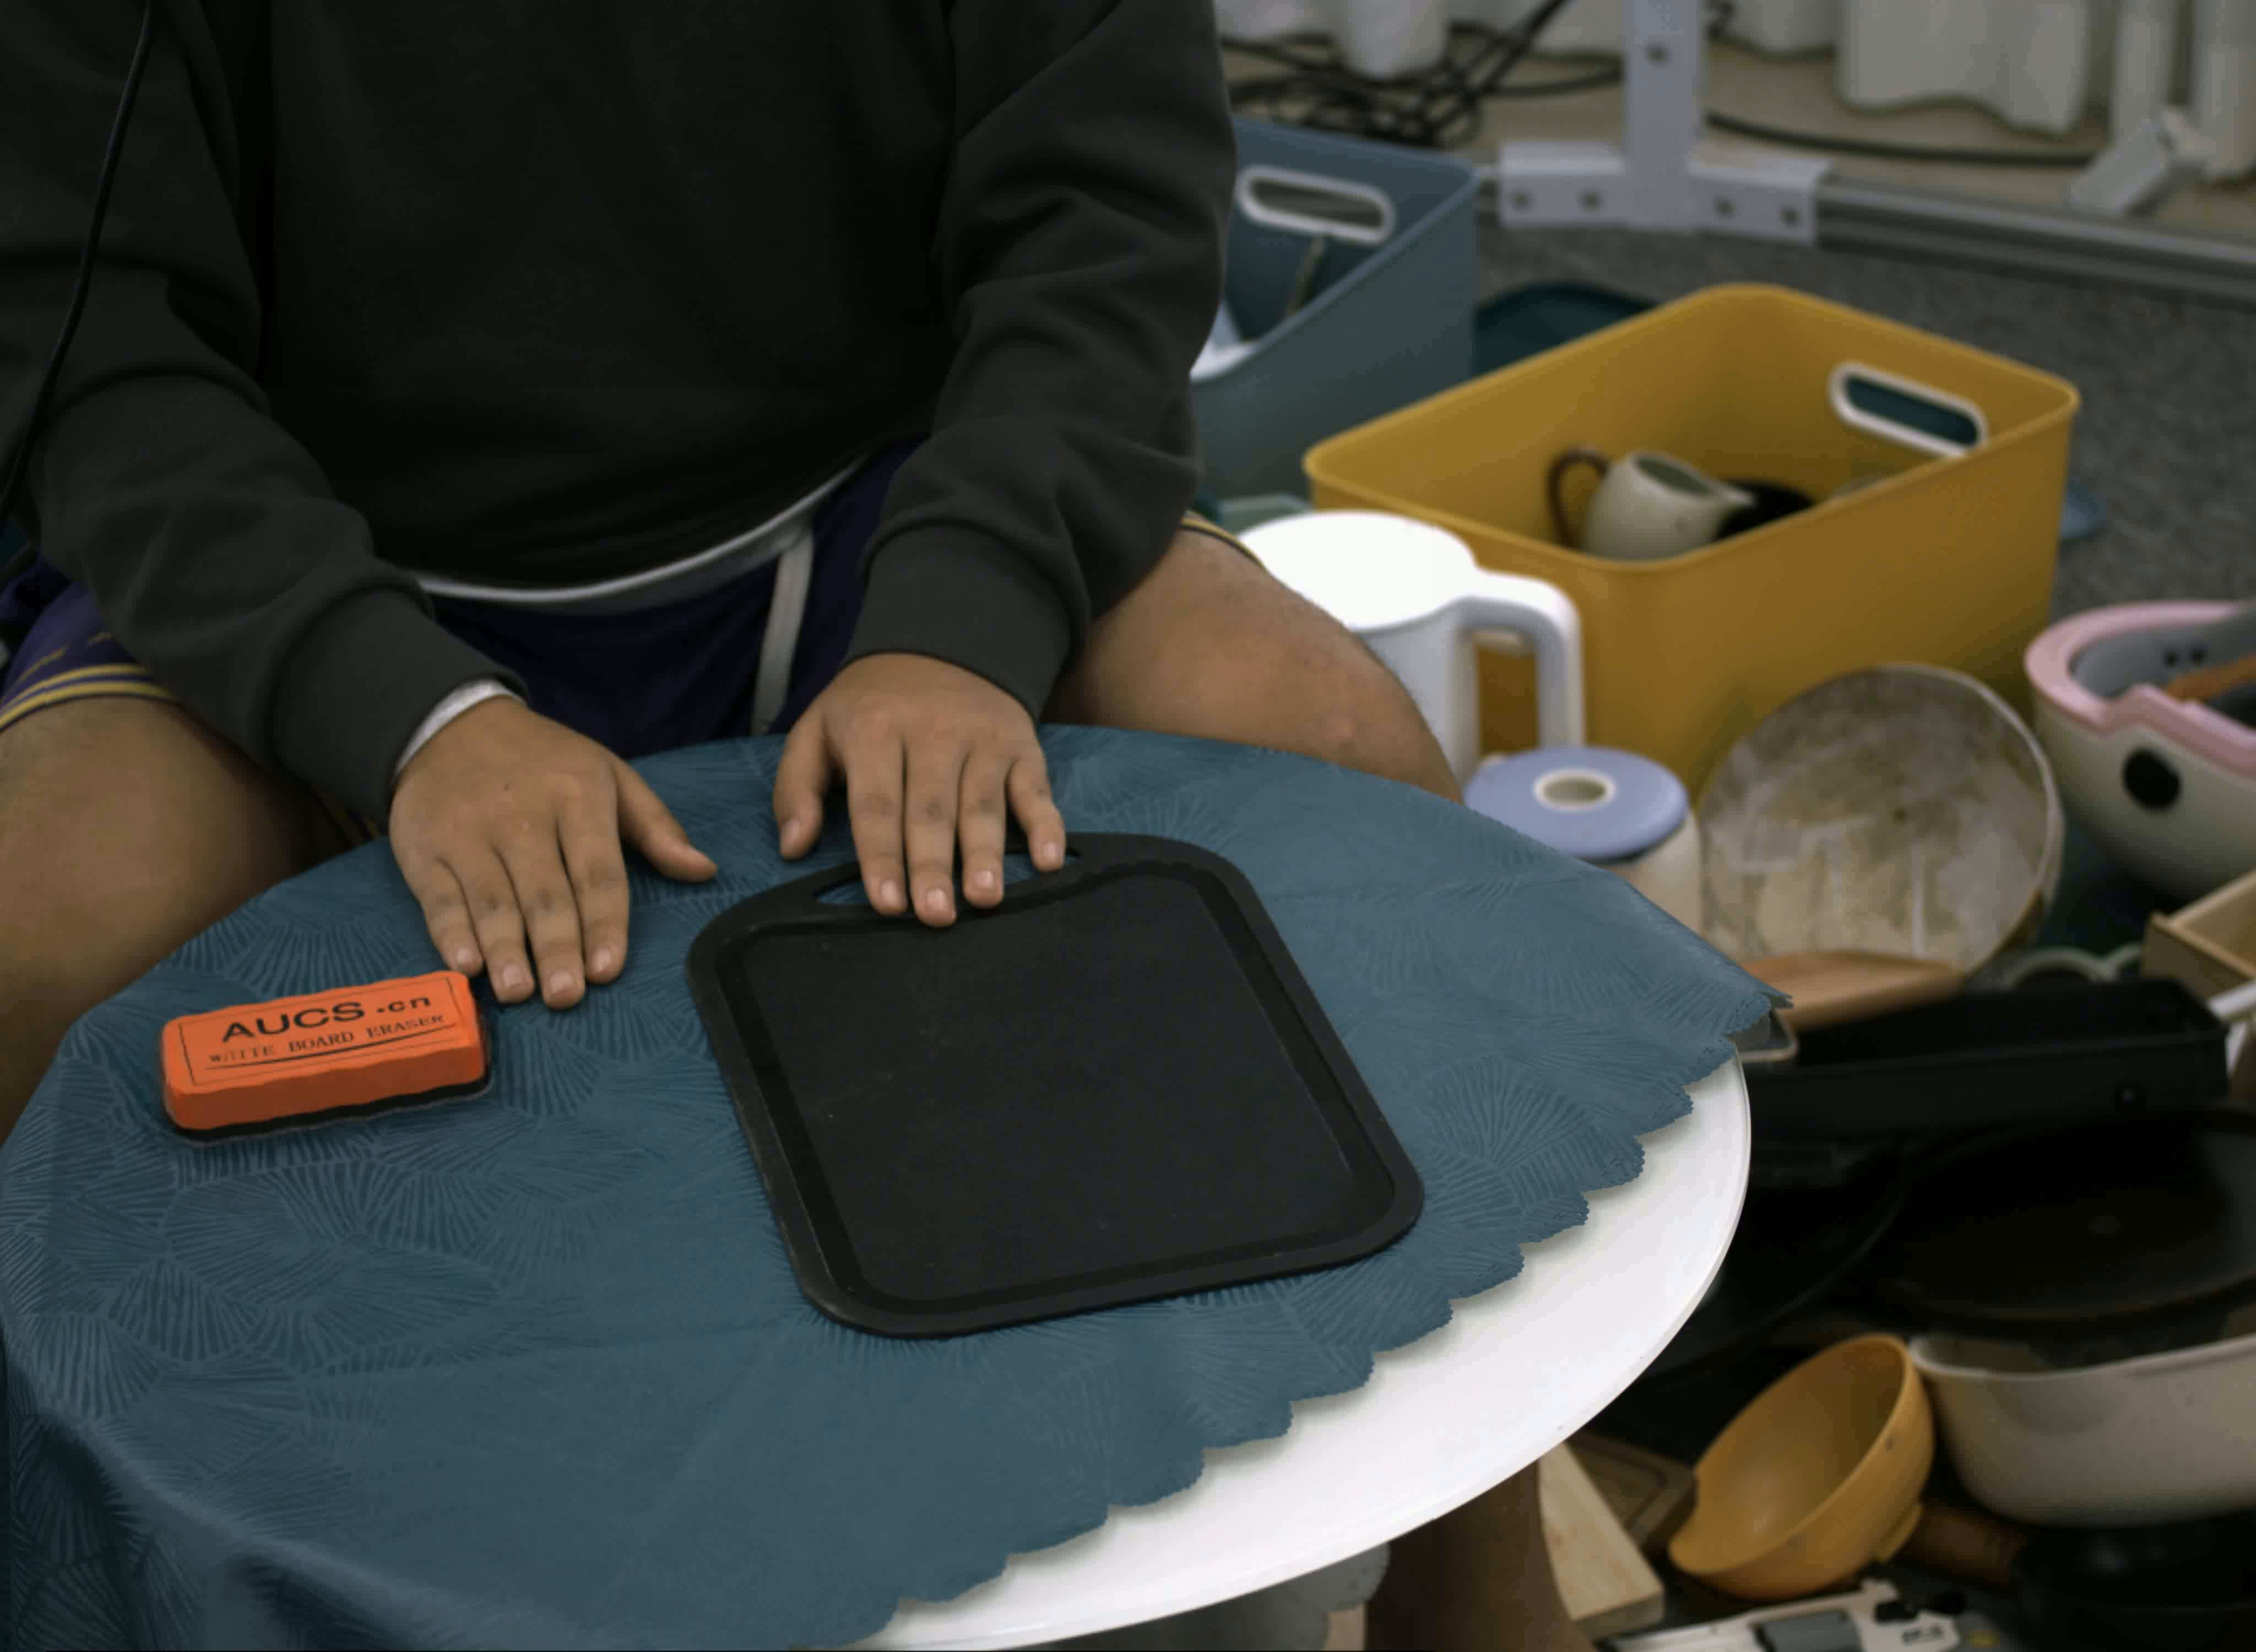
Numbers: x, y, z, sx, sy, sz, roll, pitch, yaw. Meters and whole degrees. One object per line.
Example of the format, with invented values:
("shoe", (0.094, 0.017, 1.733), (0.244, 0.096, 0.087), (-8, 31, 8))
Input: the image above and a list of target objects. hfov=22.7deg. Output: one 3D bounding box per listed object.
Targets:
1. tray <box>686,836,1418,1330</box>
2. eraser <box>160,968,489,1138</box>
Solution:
("tray", (-0.035, 0.079, 1.940), (0.211, 0.009, 0.329), (-8, 28, -11))
("eraser", (-0.278, 0.079, 1.941), (0.108, 0.022, 0.059), (-8, 28, -14))
